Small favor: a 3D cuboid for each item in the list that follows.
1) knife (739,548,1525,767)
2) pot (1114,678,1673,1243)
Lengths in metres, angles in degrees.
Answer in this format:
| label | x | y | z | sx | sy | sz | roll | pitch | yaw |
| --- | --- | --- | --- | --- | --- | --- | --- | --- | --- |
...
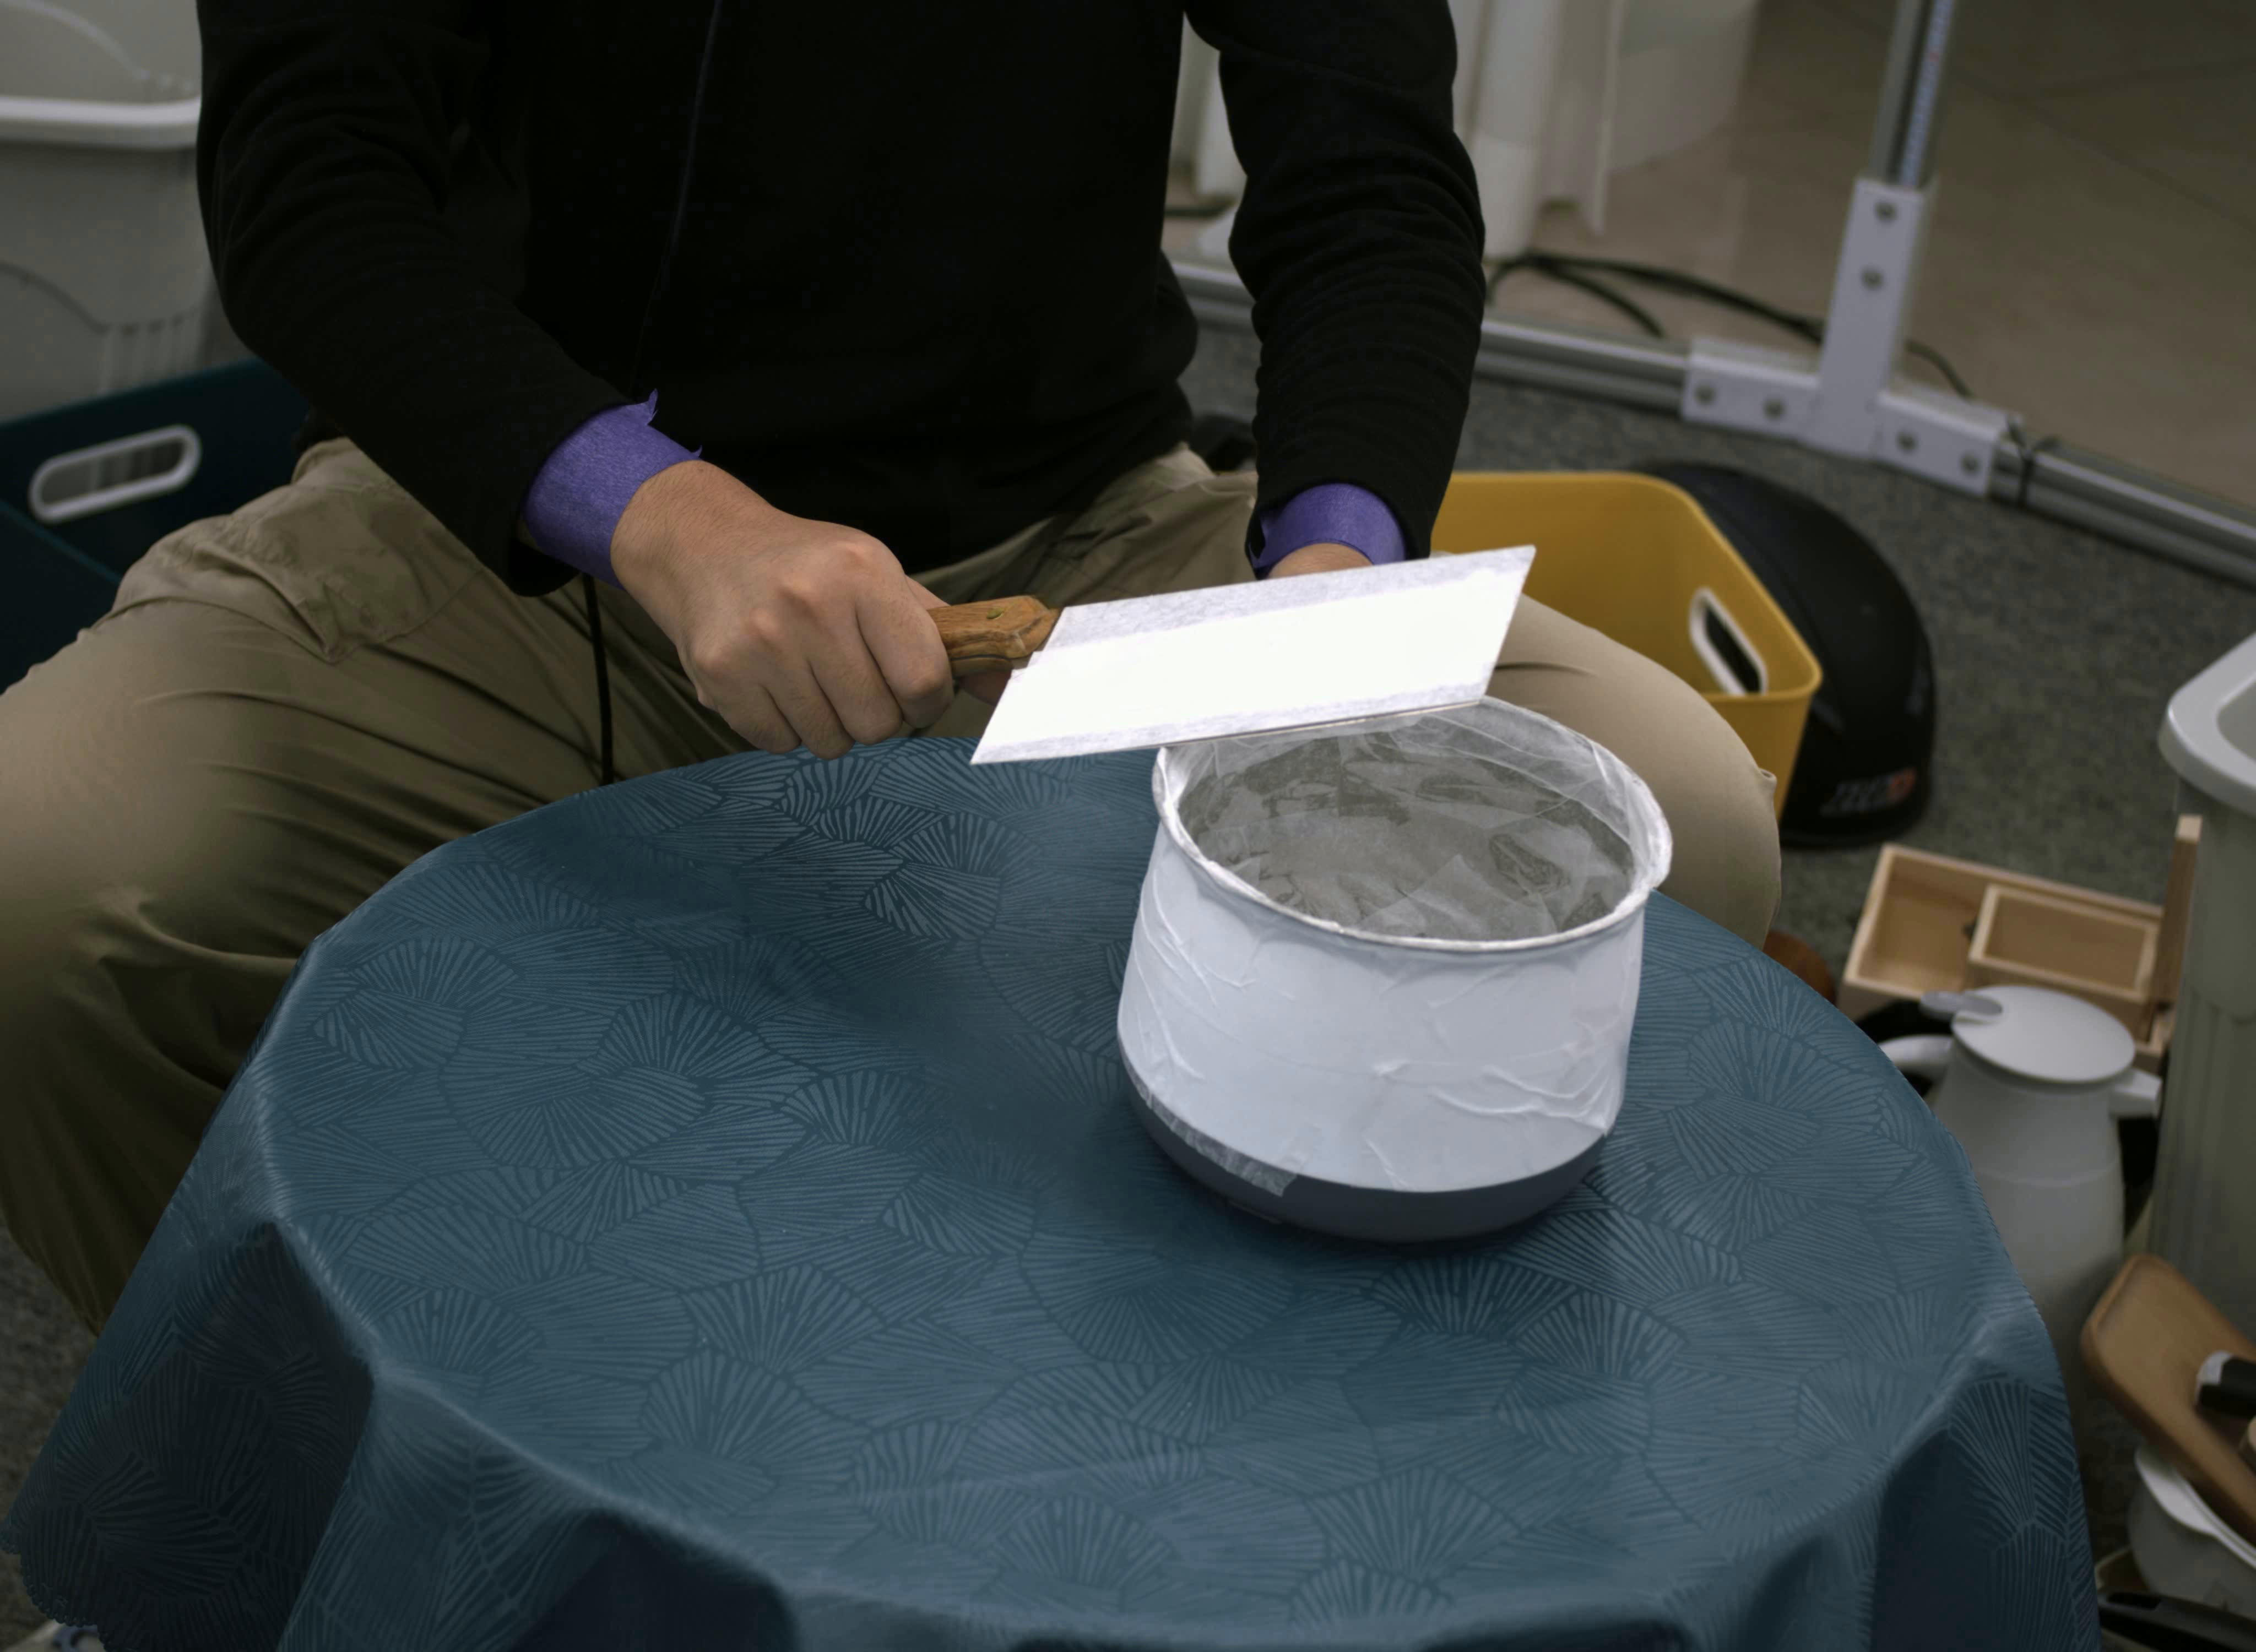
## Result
| label | x | y | z | sx | sy | sz | roll | pitch | yaw |
| --- | --- | --- | --- | --- | --- | --- | --- | --- | --- |
| knife | -0.009 | -0.053 | 1.856 | 0.306 | 0.021 | 0.093 | -7 | 34 | 25 |
| pot | 0.080 | 0.032 | 1.839 | 0.177 | 0.136 | 0.236 | -1 | 32 | -16 |
